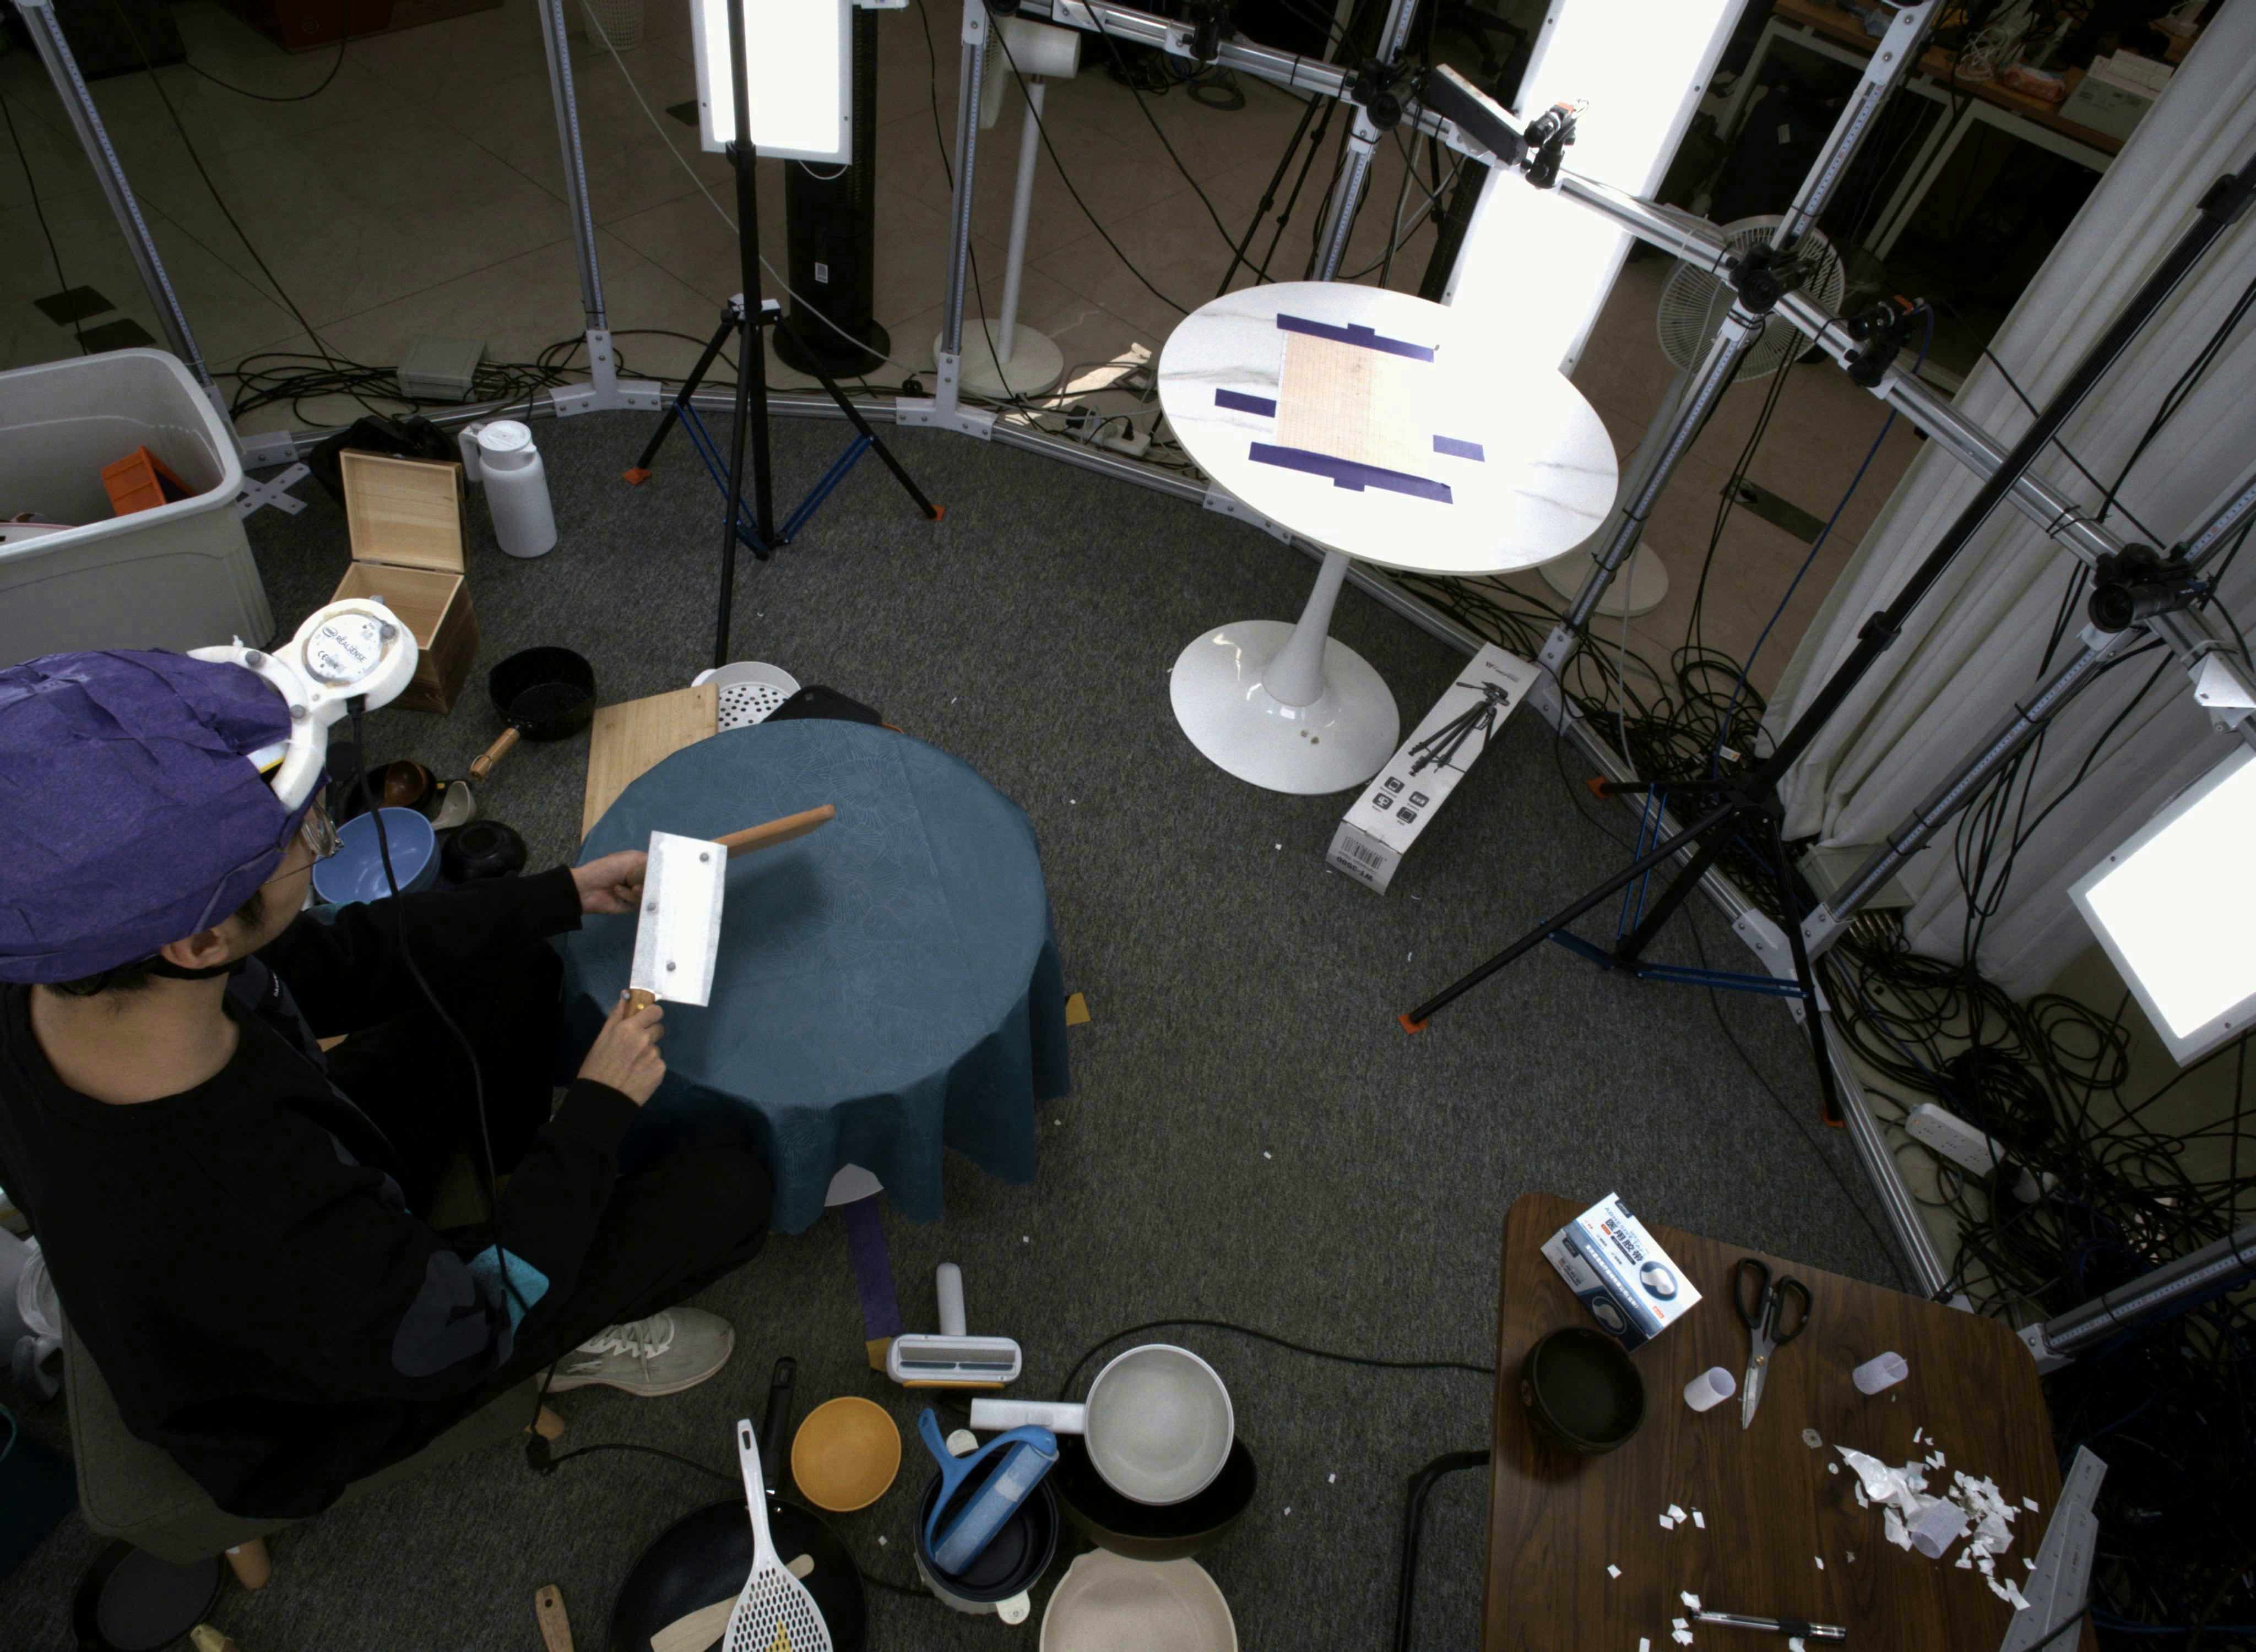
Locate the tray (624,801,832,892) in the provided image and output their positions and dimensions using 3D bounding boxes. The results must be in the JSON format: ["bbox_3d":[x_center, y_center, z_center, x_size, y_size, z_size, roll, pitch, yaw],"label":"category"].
[{"bbox_3d":[-0.479,0.022,1.550,0.252,0.128,0.023,-23,87,-35],"label":"tray"}]

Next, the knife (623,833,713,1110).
[{"bbox_3d":[-0.504,0.156,1.413,0.095,0.020,0.305,14,70,-37],"label":"knife"}]
